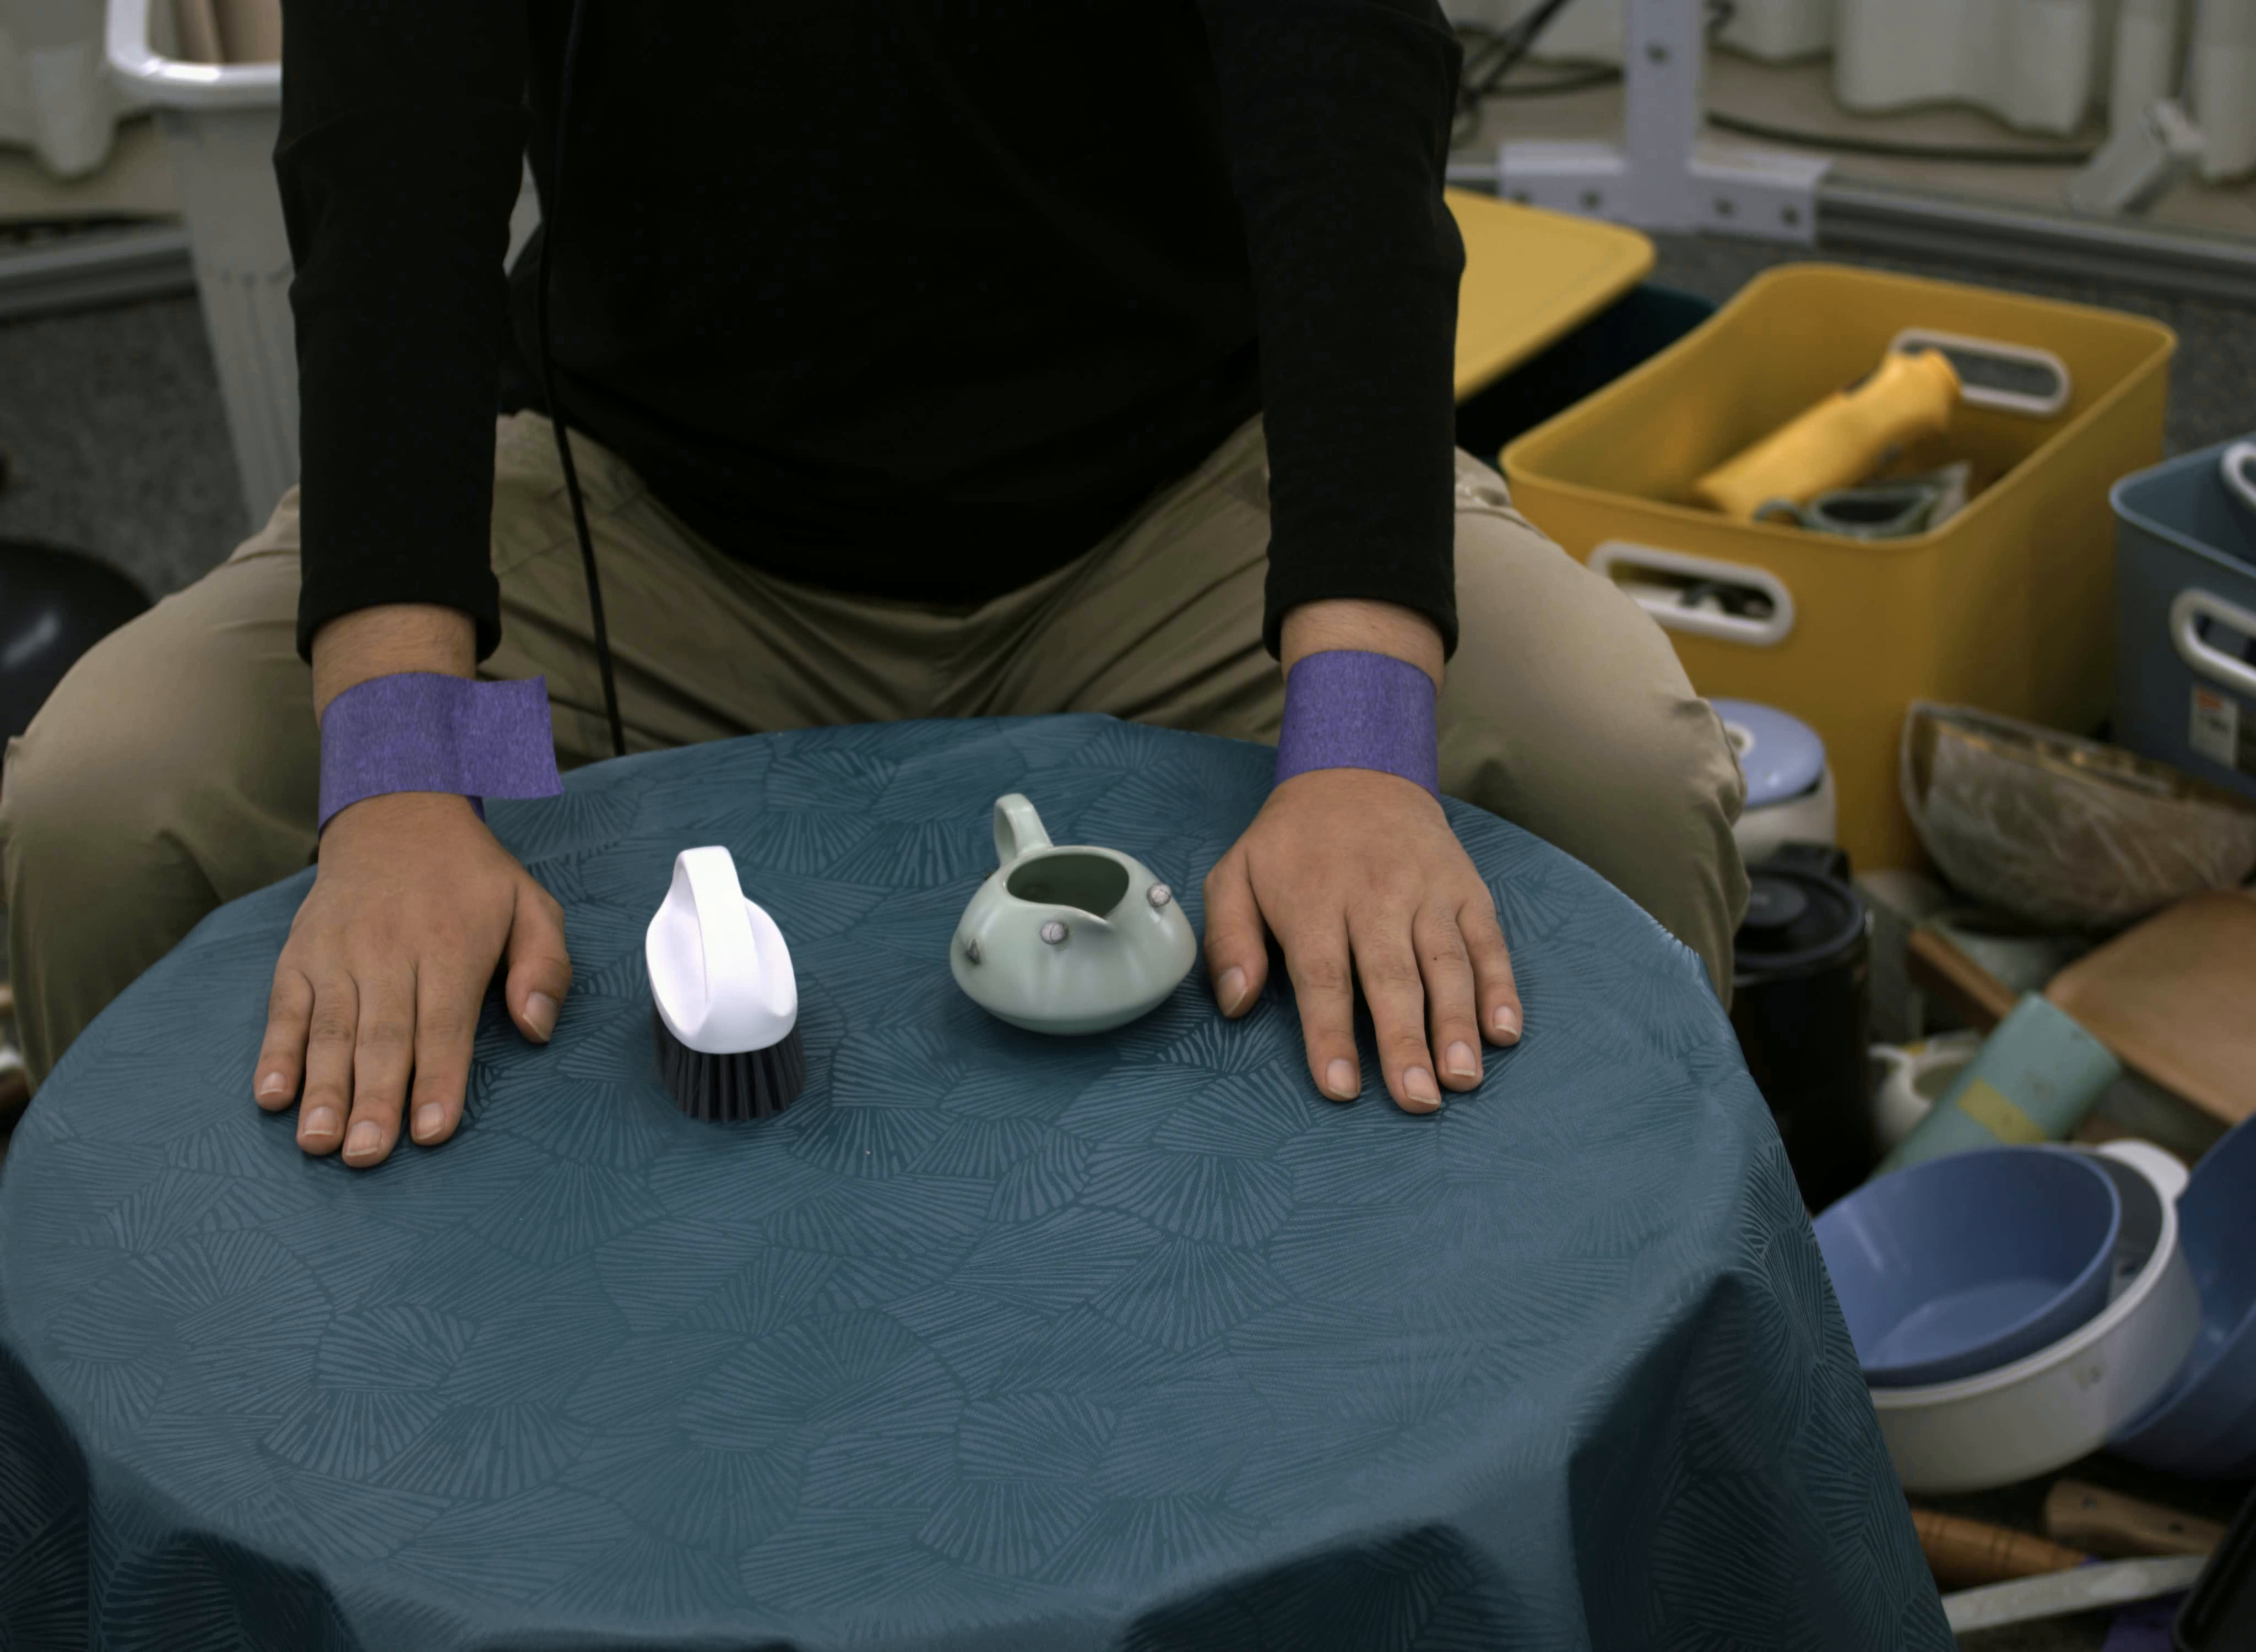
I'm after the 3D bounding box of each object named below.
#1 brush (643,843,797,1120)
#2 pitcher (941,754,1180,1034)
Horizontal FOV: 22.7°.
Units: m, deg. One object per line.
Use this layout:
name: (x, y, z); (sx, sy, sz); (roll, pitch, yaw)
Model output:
brush: (-0.142, 0.047, 1.940); (0.050, 0.072, 0.100); (-5, 28, -8)
pitcher: (-0.028, 0.025, 1.982); (0.085, 0.059, 0.110); (-15, 44, 0)
